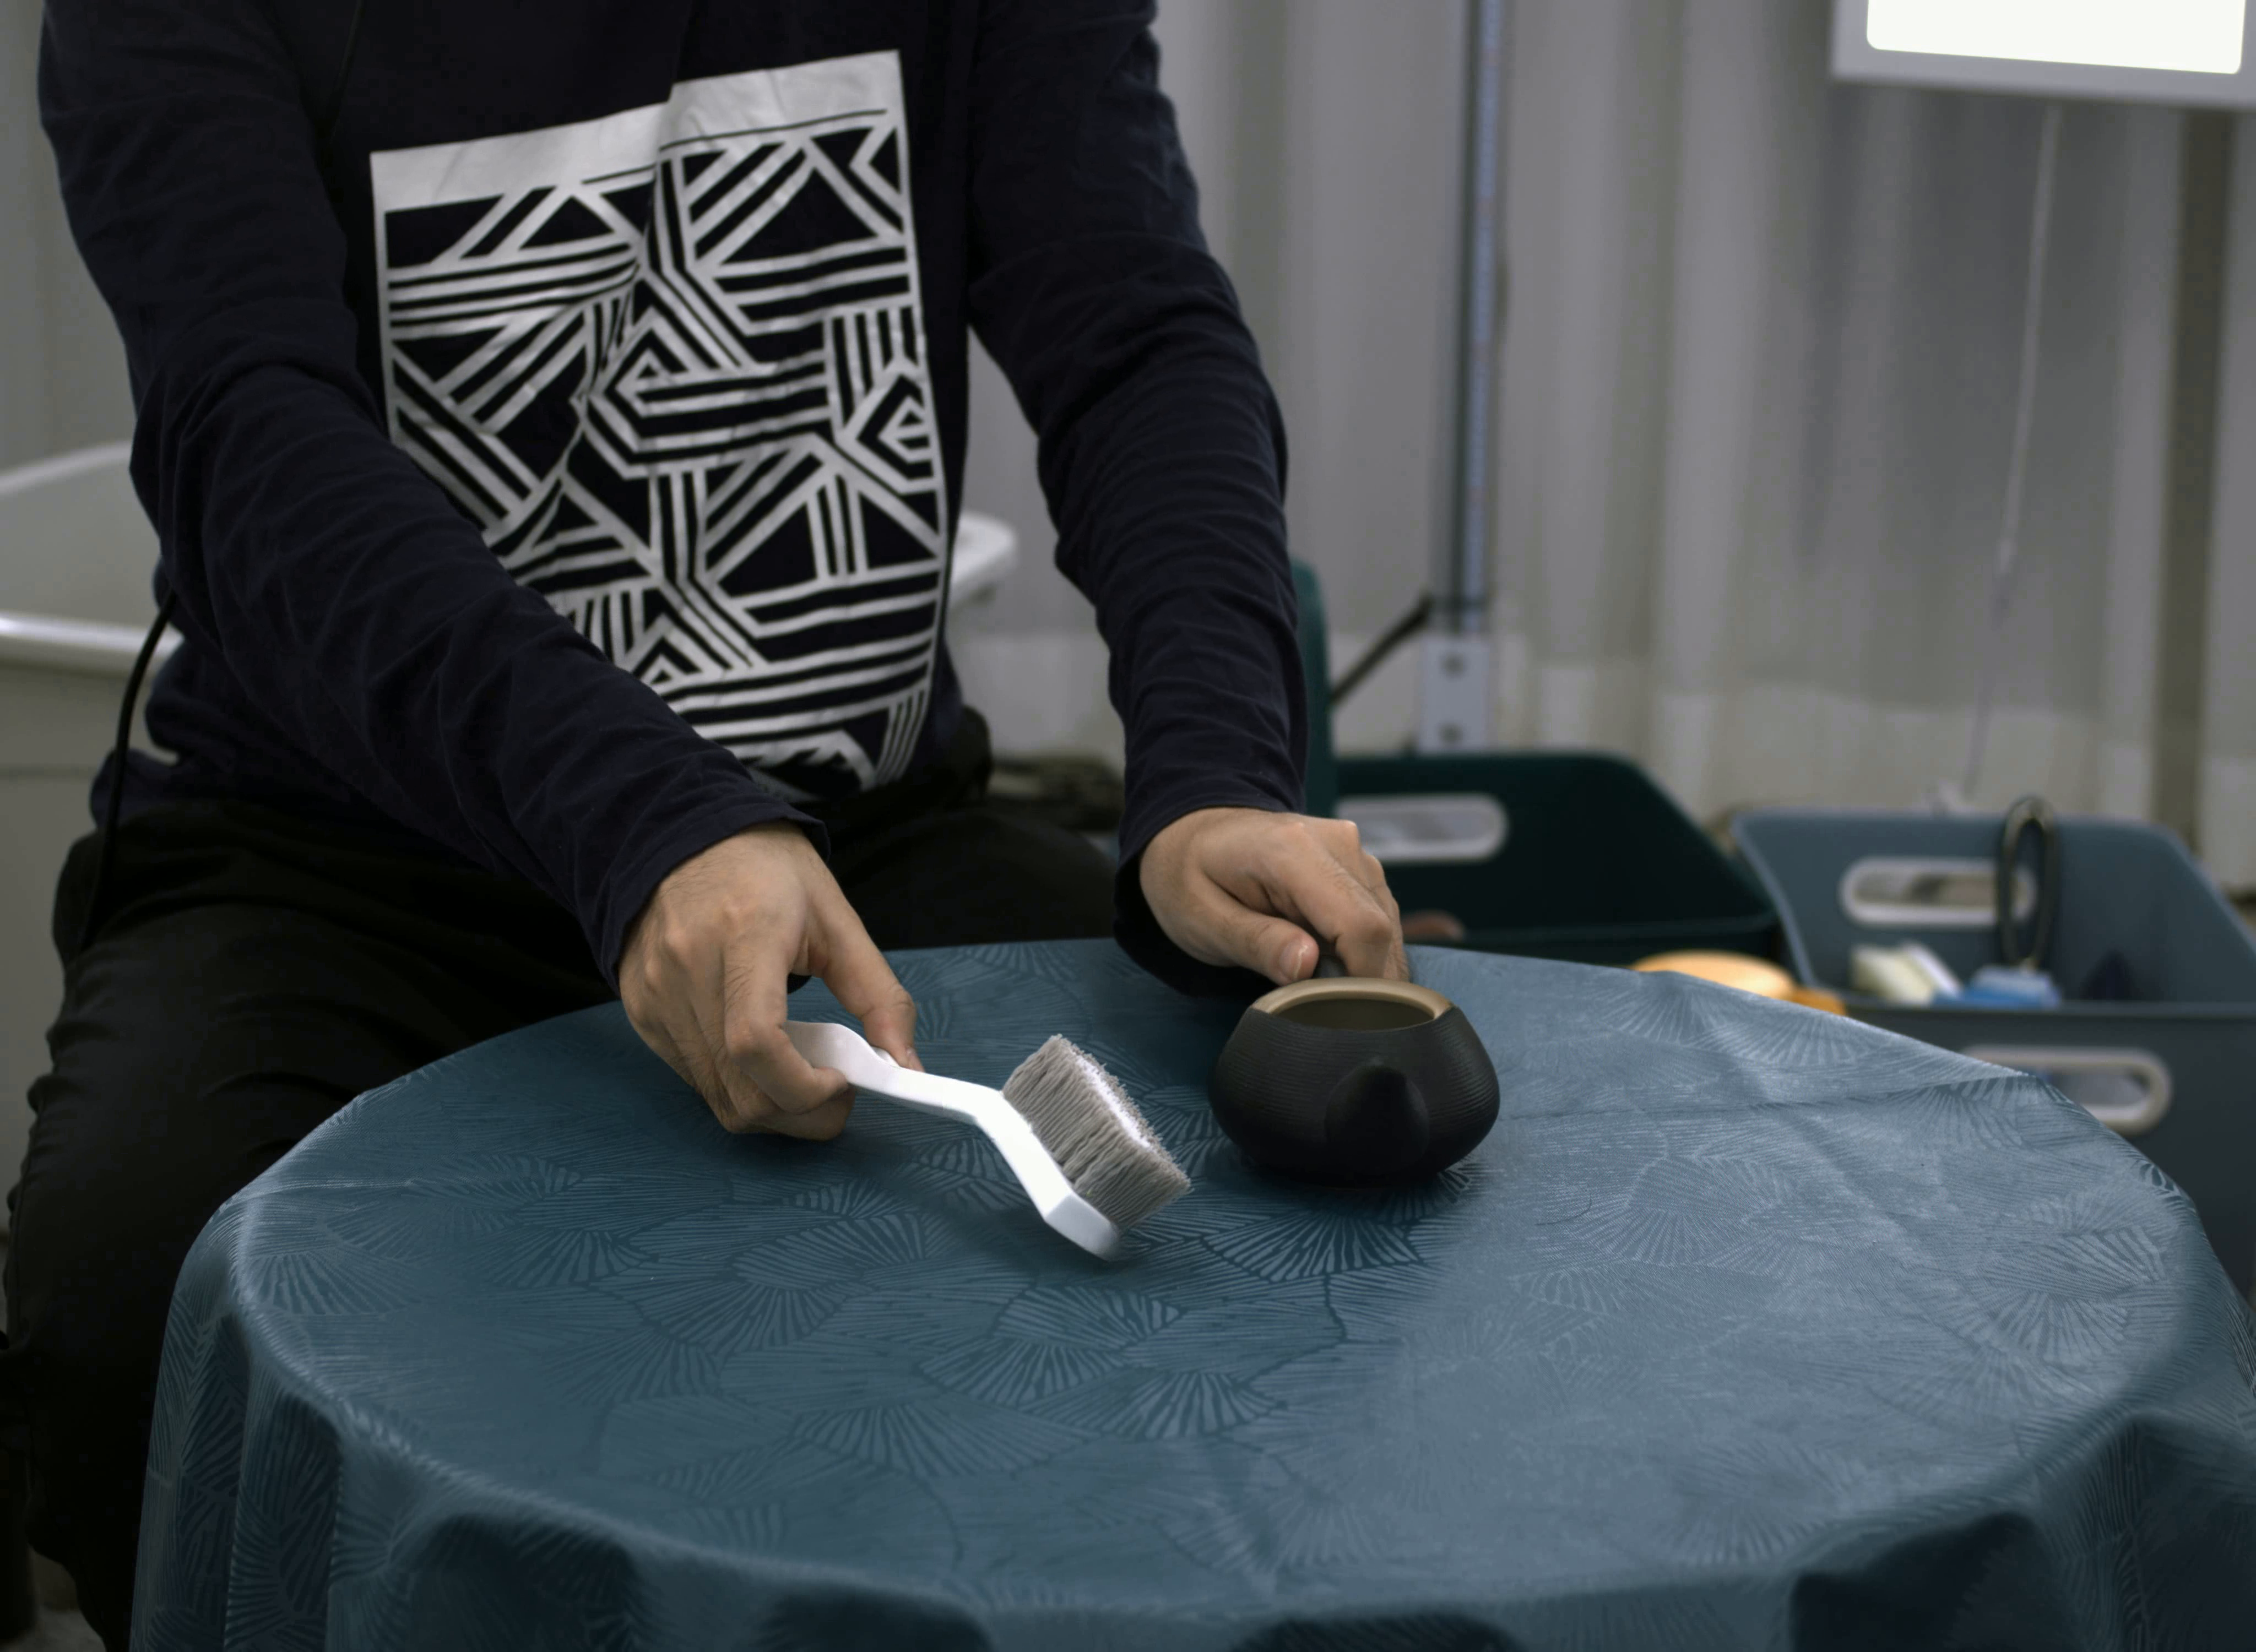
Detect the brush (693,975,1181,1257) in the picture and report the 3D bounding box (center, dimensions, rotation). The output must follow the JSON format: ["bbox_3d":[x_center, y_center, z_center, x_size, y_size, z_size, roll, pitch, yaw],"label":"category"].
[{"bbox_3d":[-0.063,0.071,1.638,0.035,0.050,0.240,26,1,-39],"label":"brush"}]

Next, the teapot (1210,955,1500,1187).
[{"bbox_3d":[0.071,0.080,1.647,0.091,0.053,0.132,1,15,-10],"label":"teapot"}]
